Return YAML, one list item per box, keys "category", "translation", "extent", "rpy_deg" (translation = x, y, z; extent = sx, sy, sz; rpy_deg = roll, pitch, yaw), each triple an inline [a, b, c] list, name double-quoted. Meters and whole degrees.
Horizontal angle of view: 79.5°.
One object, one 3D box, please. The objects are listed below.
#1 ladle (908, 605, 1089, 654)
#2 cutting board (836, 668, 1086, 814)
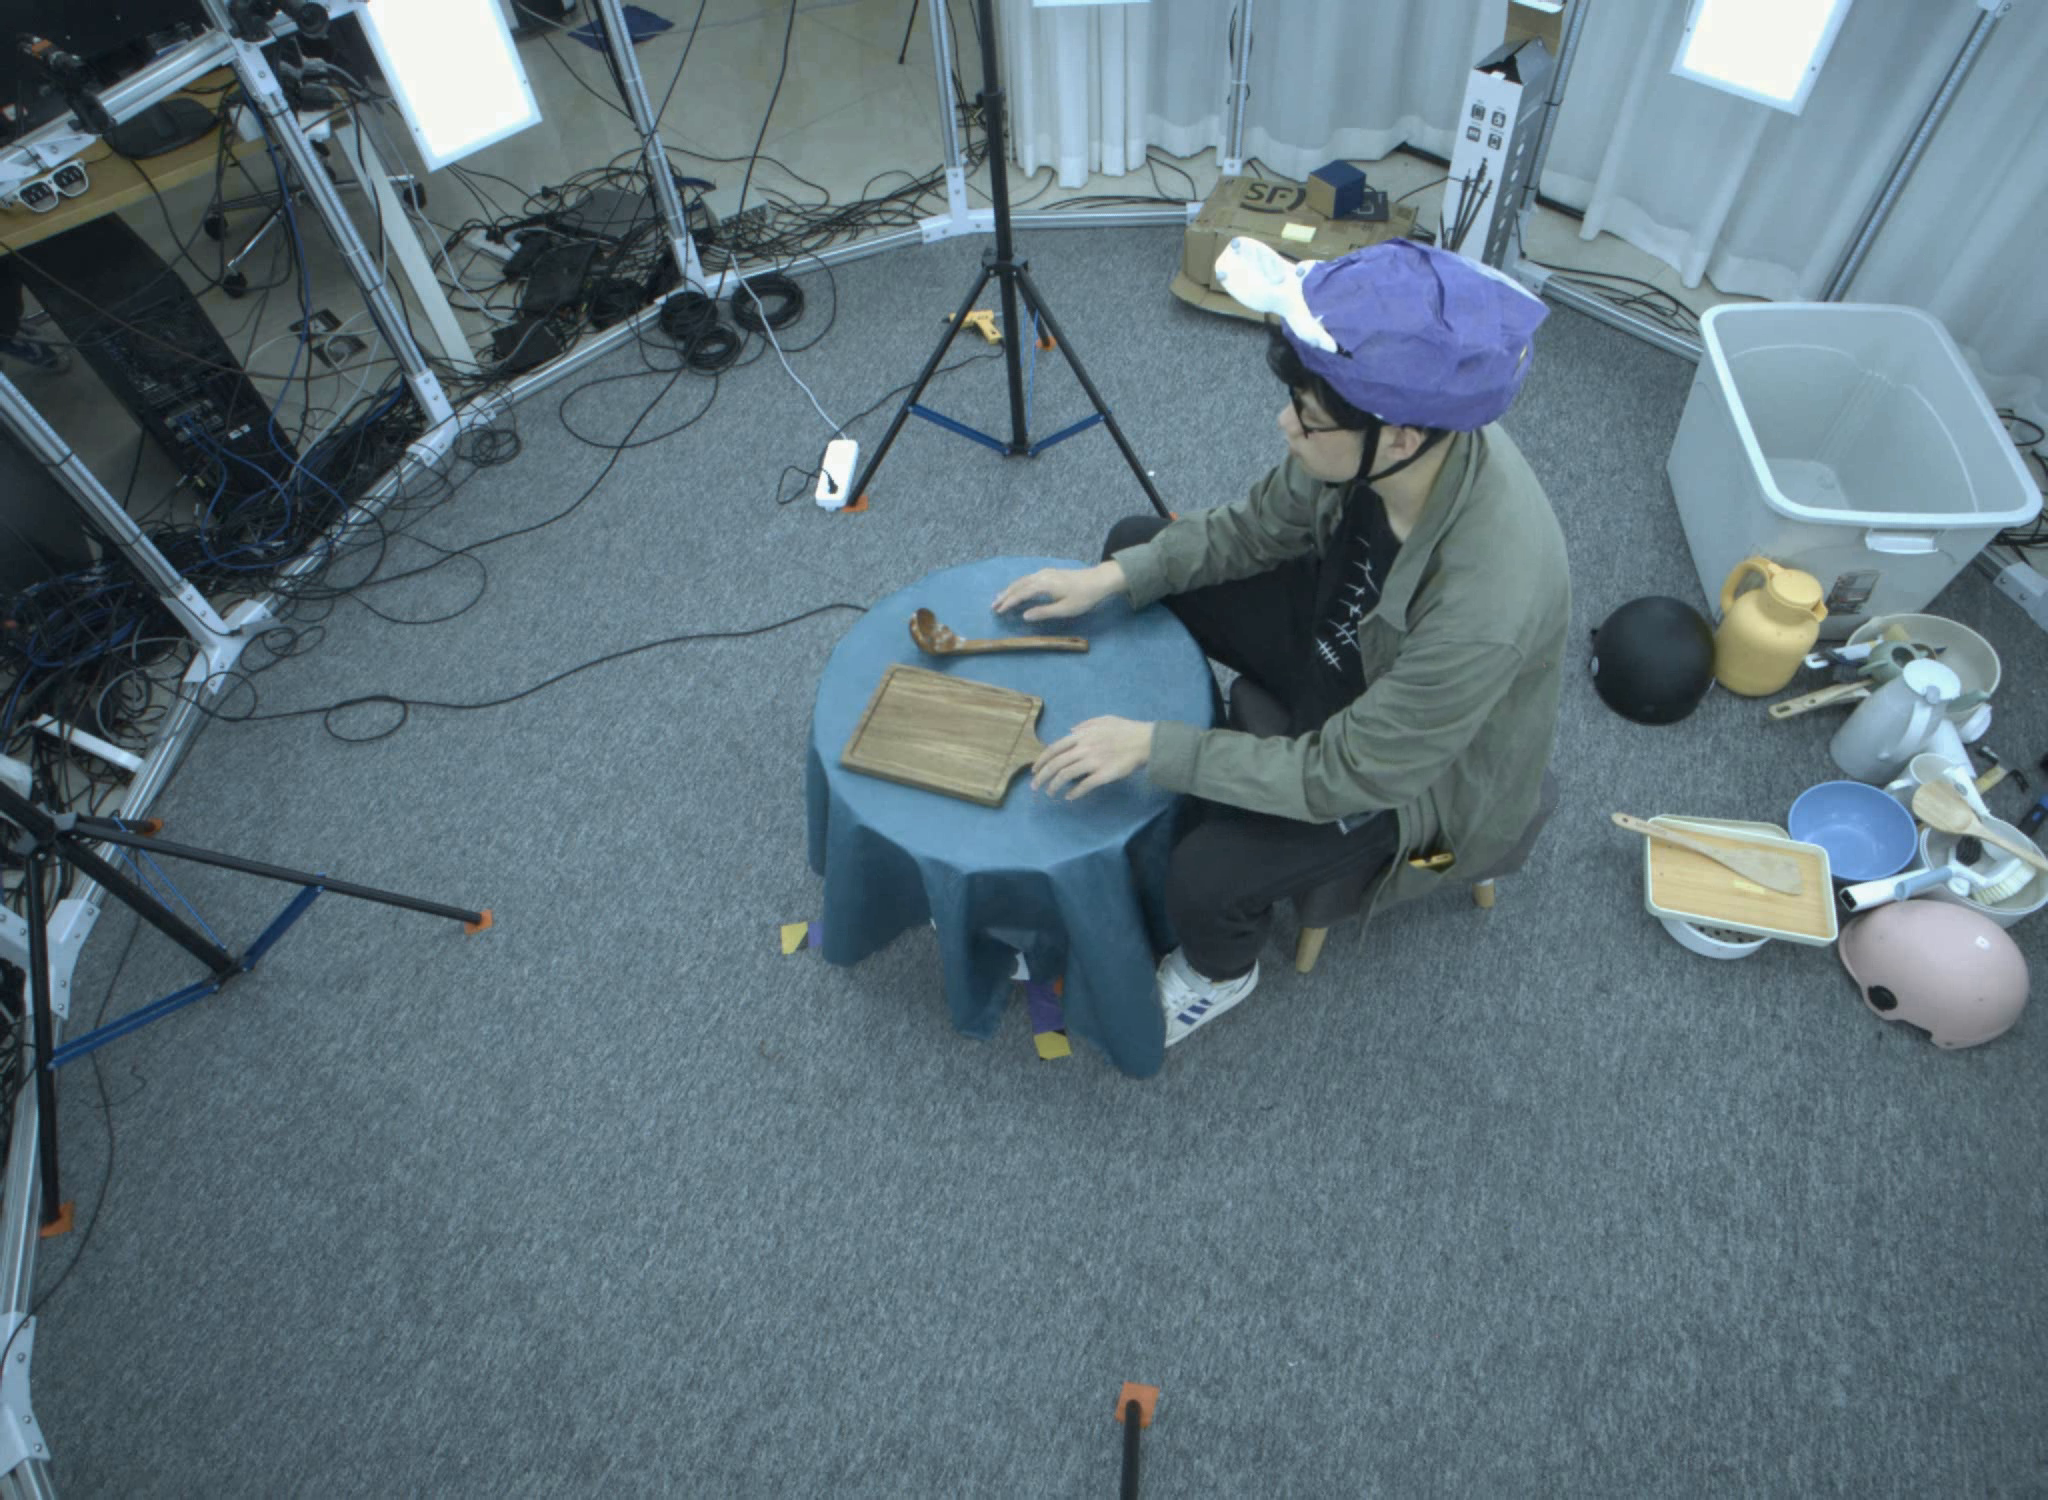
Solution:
- category: "ladle"
  translation: [-0.039, -0.183, 1.877]
  extent: [0.274, 0.077, 0.081]
  rpy_deg: [0, 50, 1]
- category: "cutting board"
  translation: [-0.079, -0.006, 1.785]
  extent: [0.349, 0.023, 0.201]
  rpy_deg: [15, 57, 12]
